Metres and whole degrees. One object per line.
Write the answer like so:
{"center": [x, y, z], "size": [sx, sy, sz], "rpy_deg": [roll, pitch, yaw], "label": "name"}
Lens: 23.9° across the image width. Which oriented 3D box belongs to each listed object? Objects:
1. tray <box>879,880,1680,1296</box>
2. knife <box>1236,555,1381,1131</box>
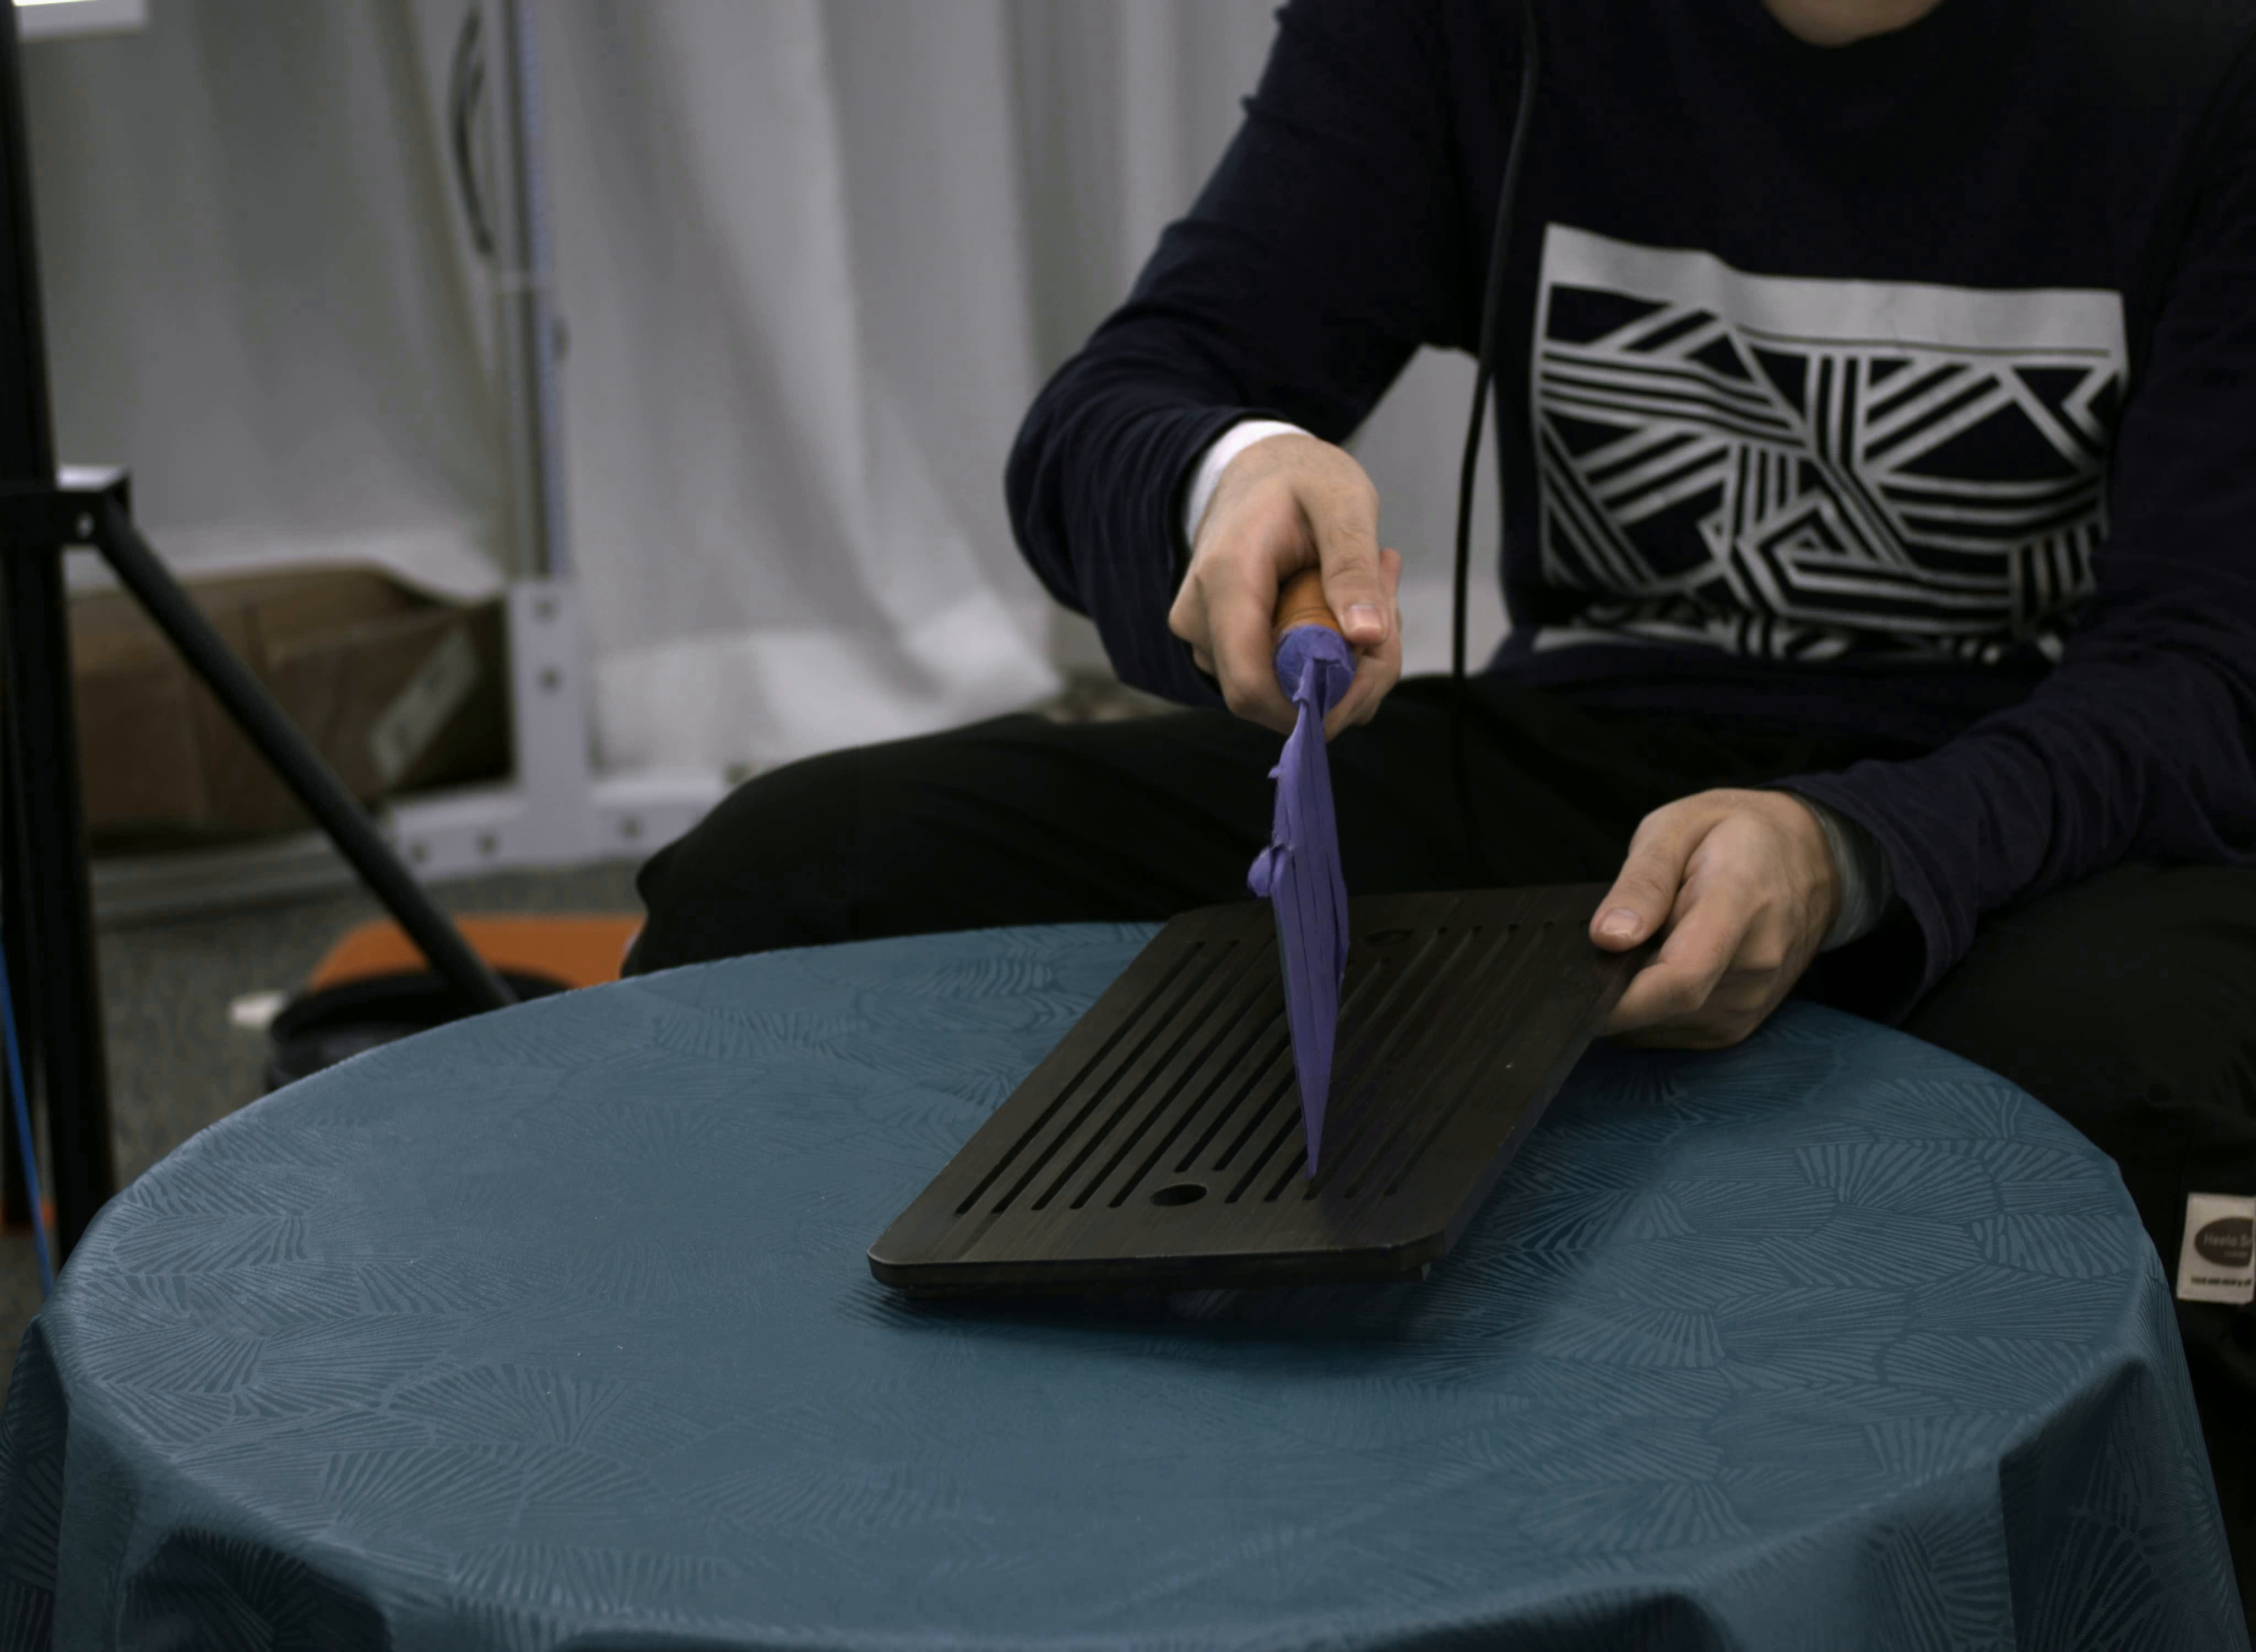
{"center": [0.054, 0.076, 1.575], "size": [0.172, 0.018, 0.303], "rpy_deg": [-4, 17, 21], "label": "tray"}
{"center": [0.054, 0.002, 1.600], "size": [0.032, 0.103, 0.315], "rpy_deg": [-4, 18, 9], "label": "knife"}
